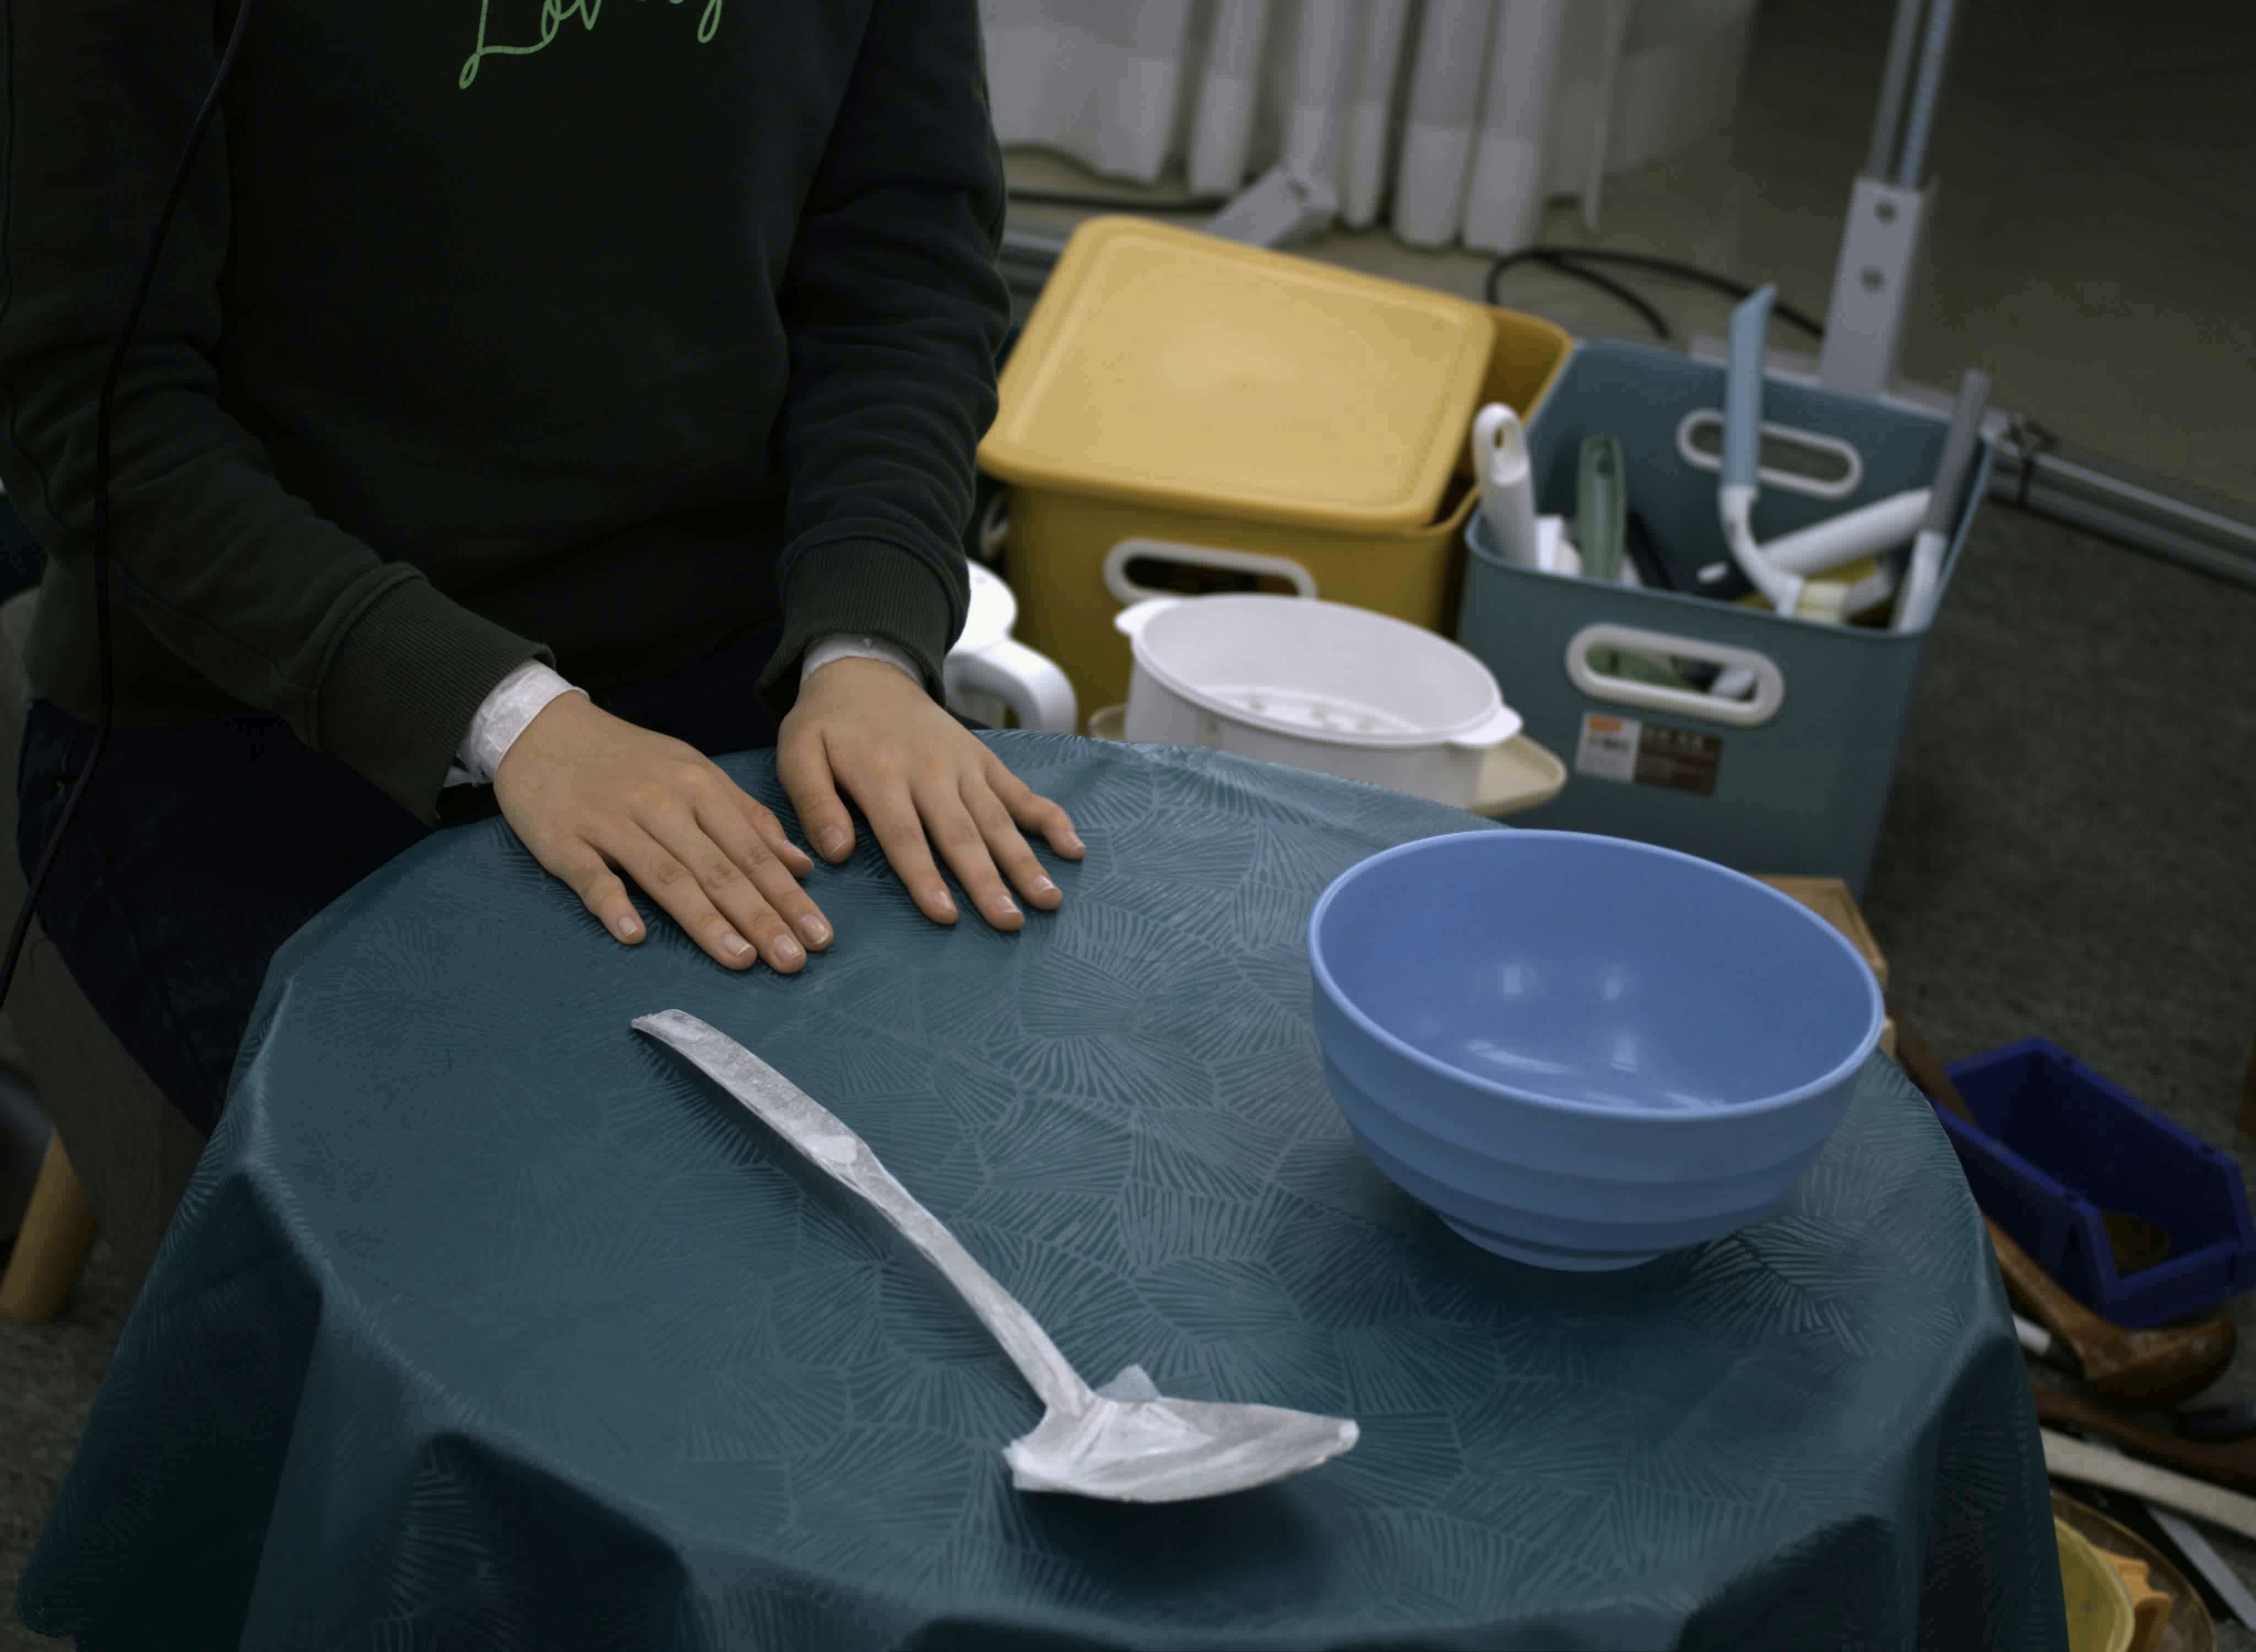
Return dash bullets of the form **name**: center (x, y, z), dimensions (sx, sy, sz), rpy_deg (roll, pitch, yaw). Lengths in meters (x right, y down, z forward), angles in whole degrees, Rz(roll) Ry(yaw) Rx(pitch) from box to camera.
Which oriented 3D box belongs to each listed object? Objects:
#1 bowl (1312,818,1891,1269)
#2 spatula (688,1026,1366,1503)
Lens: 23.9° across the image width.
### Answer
- **bowl**: center (0.152, 0.086, 1.802), dimensions (0.196, 0.095, 0.198), rpy_deg (7, 28, -4)
- **spatula**: center (-0.057, 0.134, 1.725), dimensions (0.098, 0.044, 0.368), rpy_deg (-13, 32, -30)
